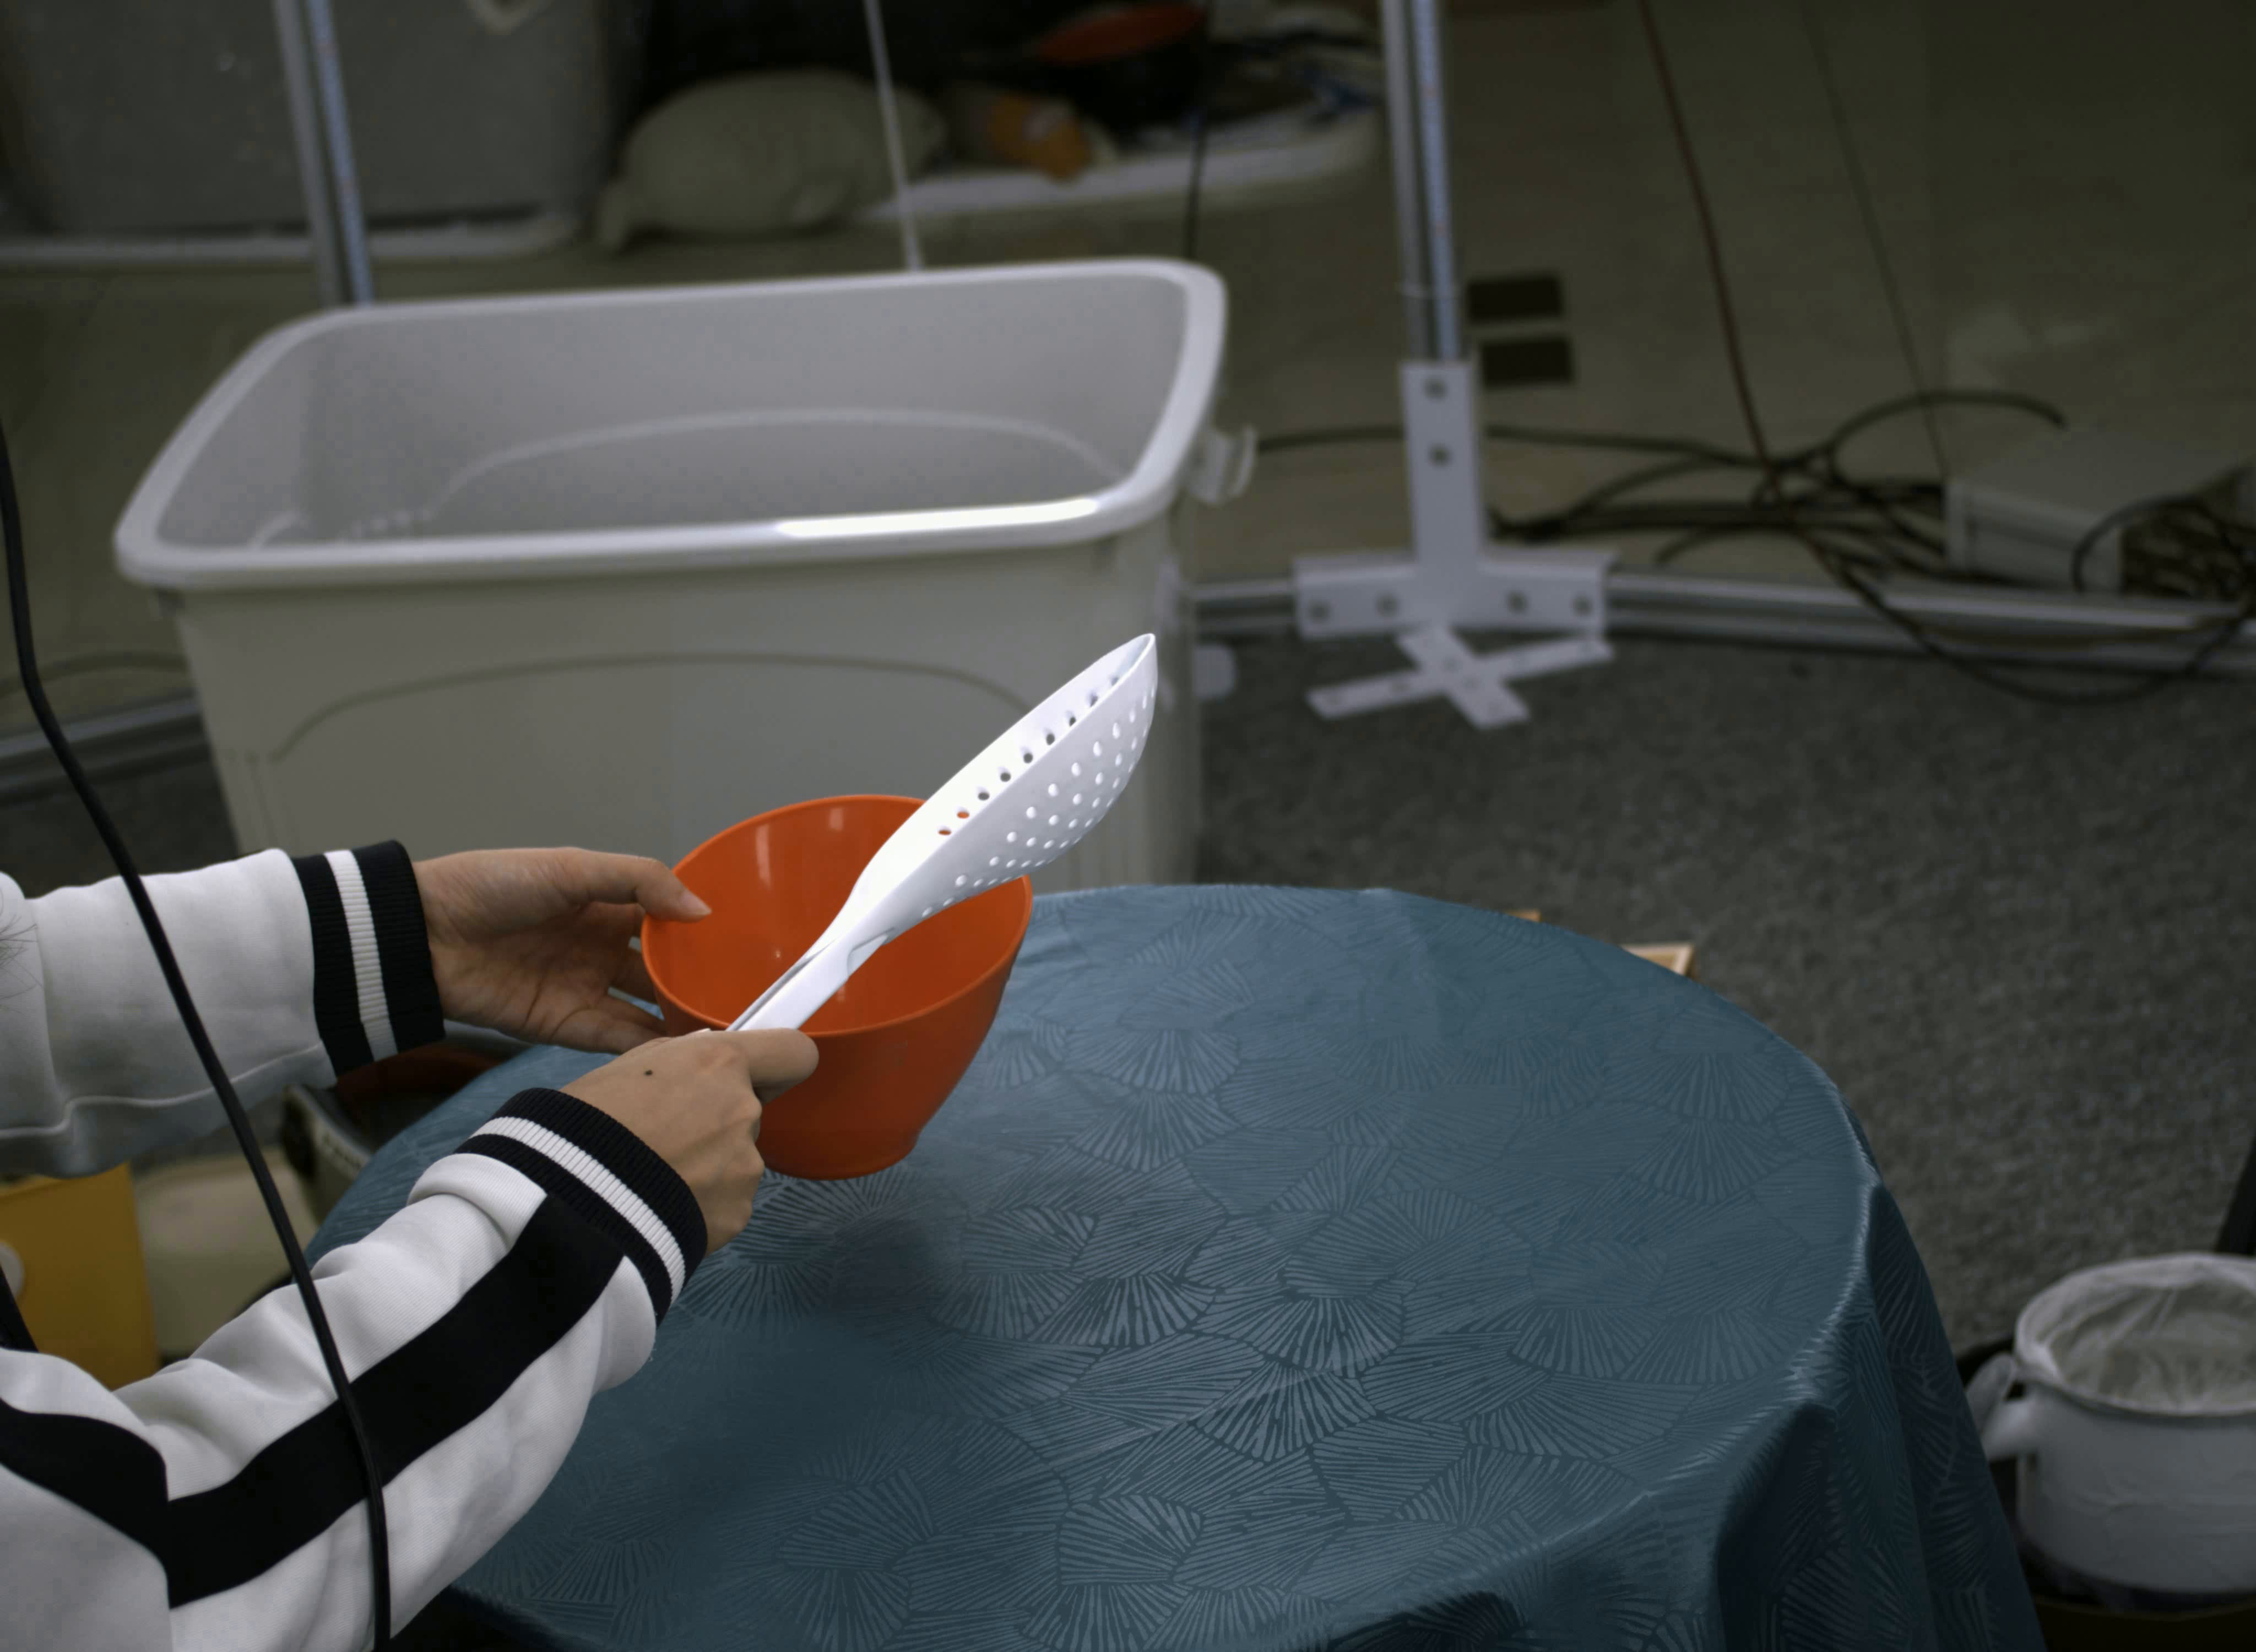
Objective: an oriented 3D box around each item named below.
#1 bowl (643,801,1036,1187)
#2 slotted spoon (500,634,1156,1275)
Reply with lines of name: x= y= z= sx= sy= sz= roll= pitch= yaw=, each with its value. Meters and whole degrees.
bowl: x=-0.108 y=0.070 z=2.142 sx=0.148 sy=0.106 sz=0.145 roll=0 pitch=30 yaw=0
slotted spoon: x=-0.100 y=0.042 z=1.968 sx=0.346 sy=0.046 sz=0.137 roll=-40 pitch=5 yaw=-36
